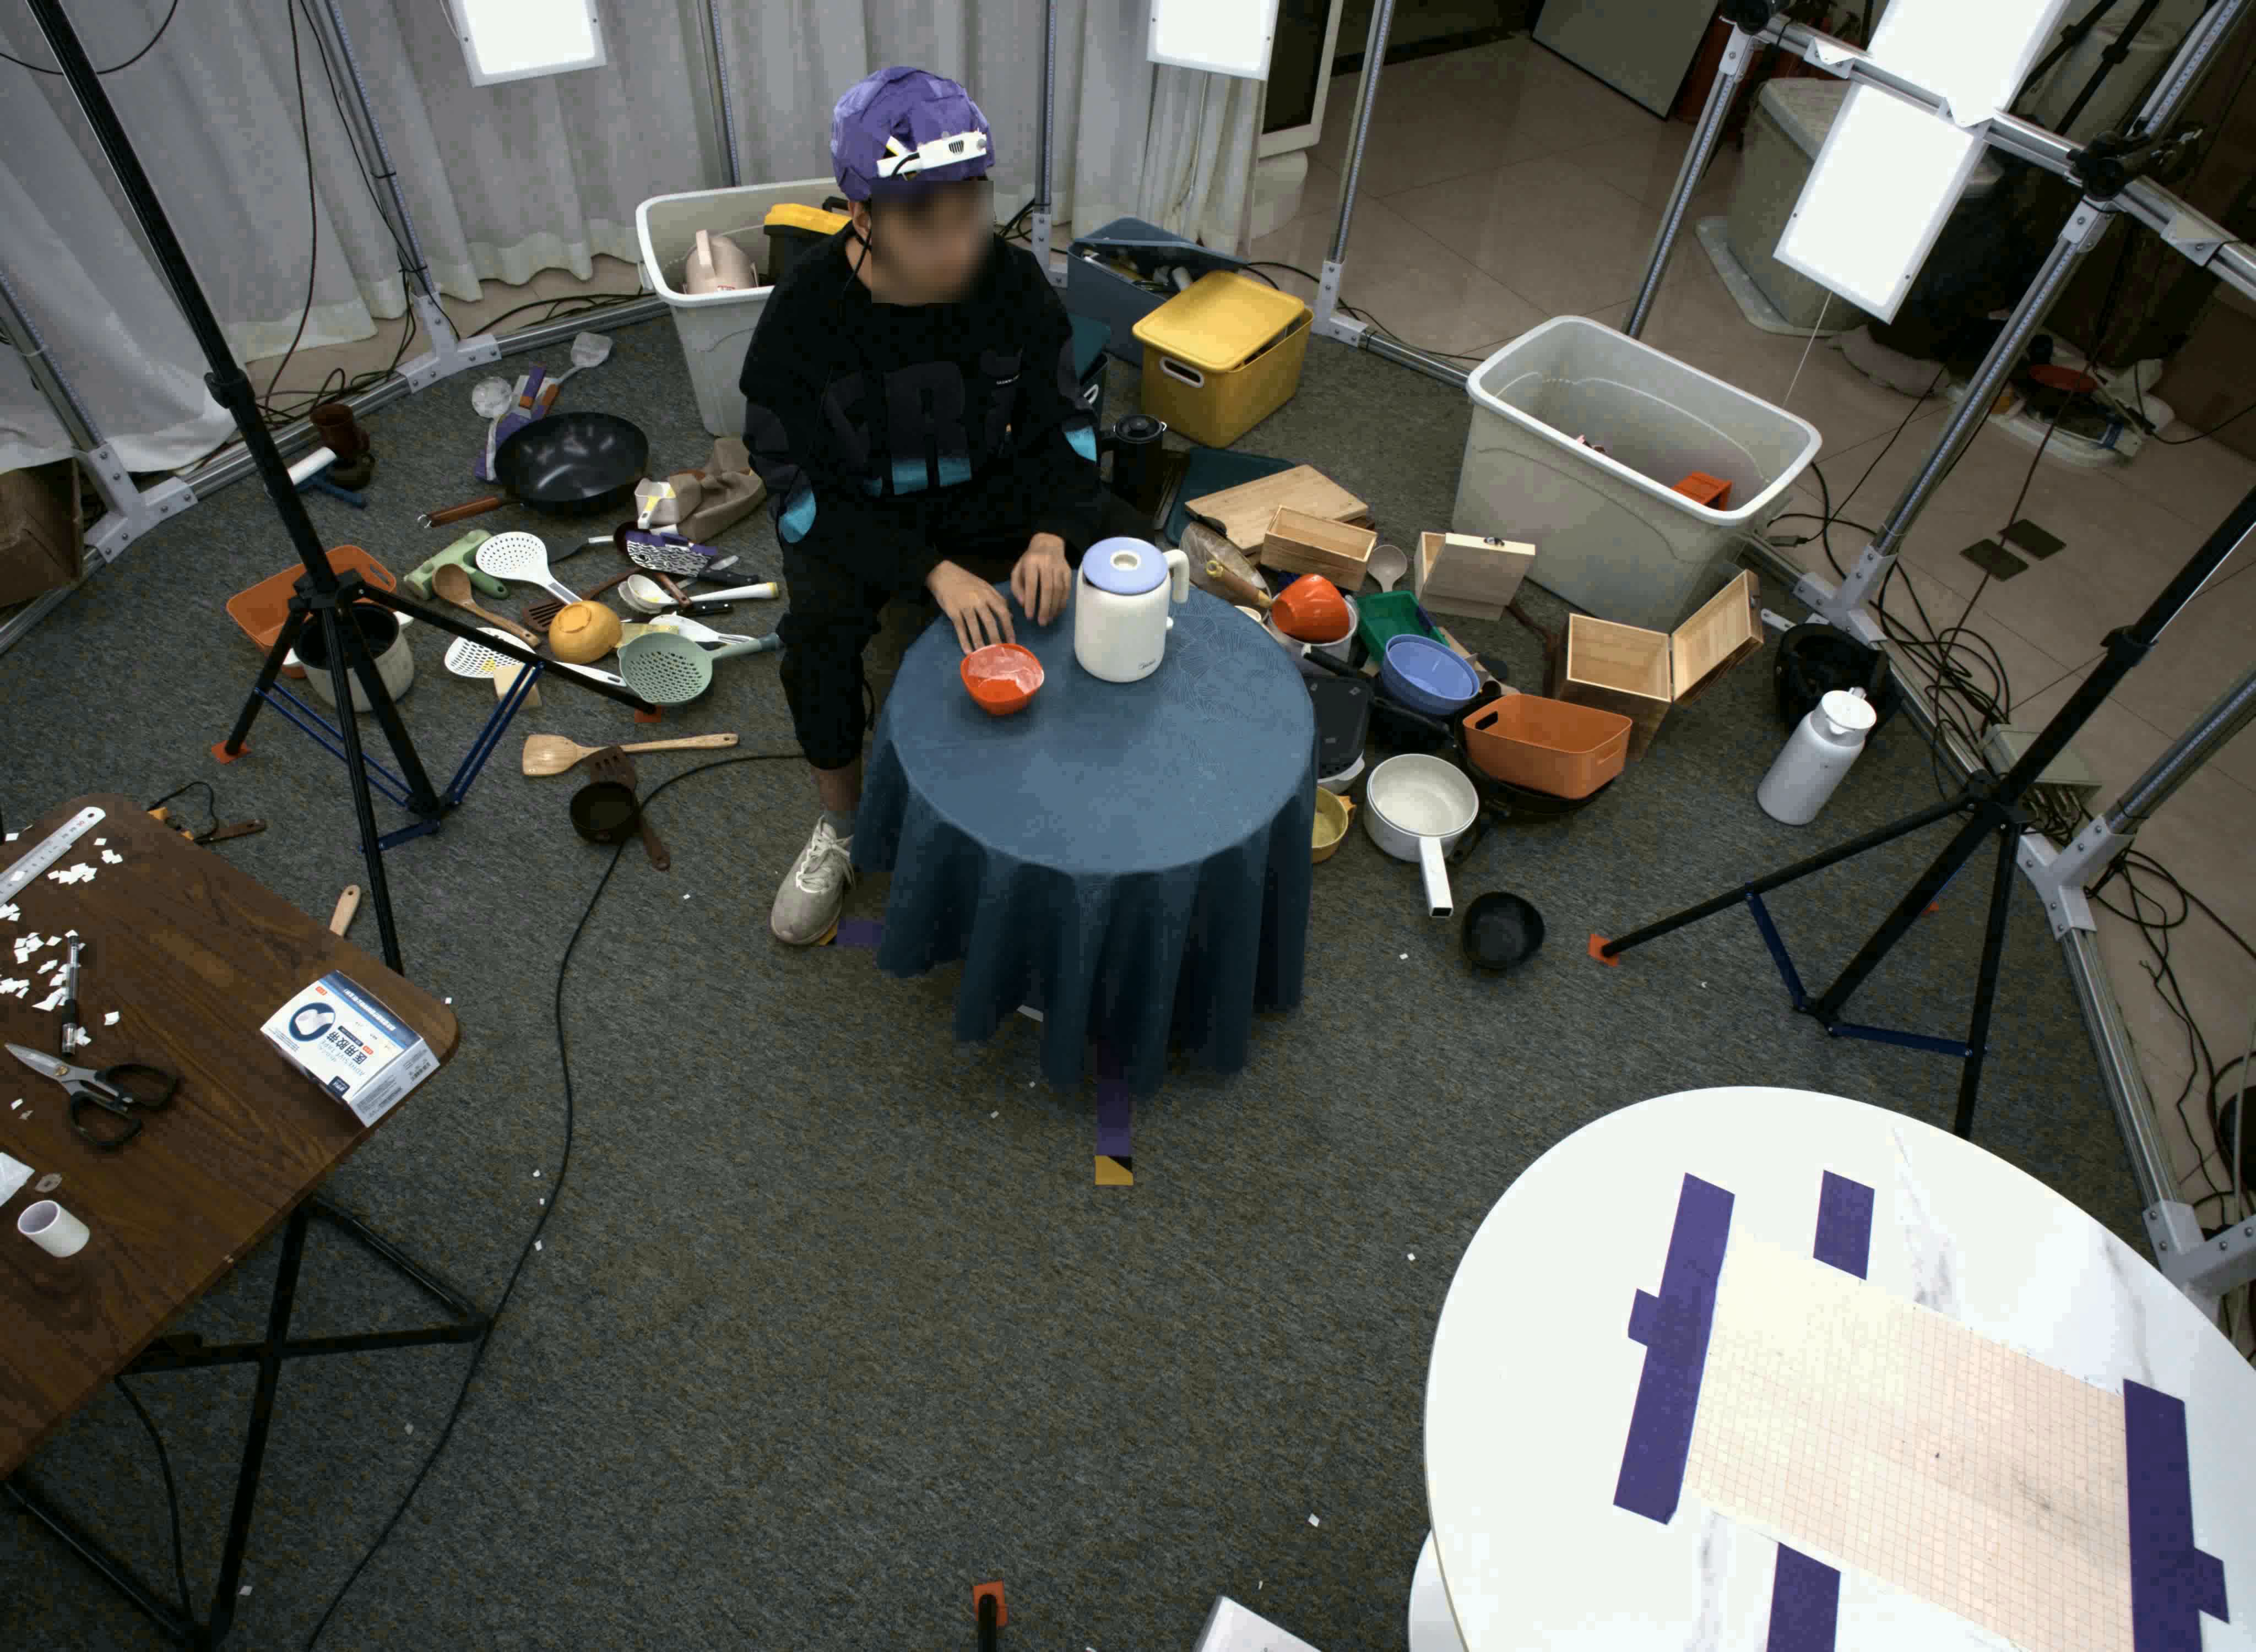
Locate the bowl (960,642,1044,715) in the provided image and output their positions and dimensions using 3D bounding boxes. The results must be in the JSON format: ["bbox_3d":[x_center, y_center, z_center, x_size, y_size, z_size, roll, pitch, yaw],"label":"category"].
[{"bbox_3d":[-0.175,-0.200,1.796,0.119,0.050,0.122,1,52,-2],"label":"bowl"}]

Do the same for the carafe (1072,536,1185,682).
[{"bbox_3d":[0.009,-0.318,1.835,0.192,0.178,0.134,-29,58,-28],"label":"carafe"}]
